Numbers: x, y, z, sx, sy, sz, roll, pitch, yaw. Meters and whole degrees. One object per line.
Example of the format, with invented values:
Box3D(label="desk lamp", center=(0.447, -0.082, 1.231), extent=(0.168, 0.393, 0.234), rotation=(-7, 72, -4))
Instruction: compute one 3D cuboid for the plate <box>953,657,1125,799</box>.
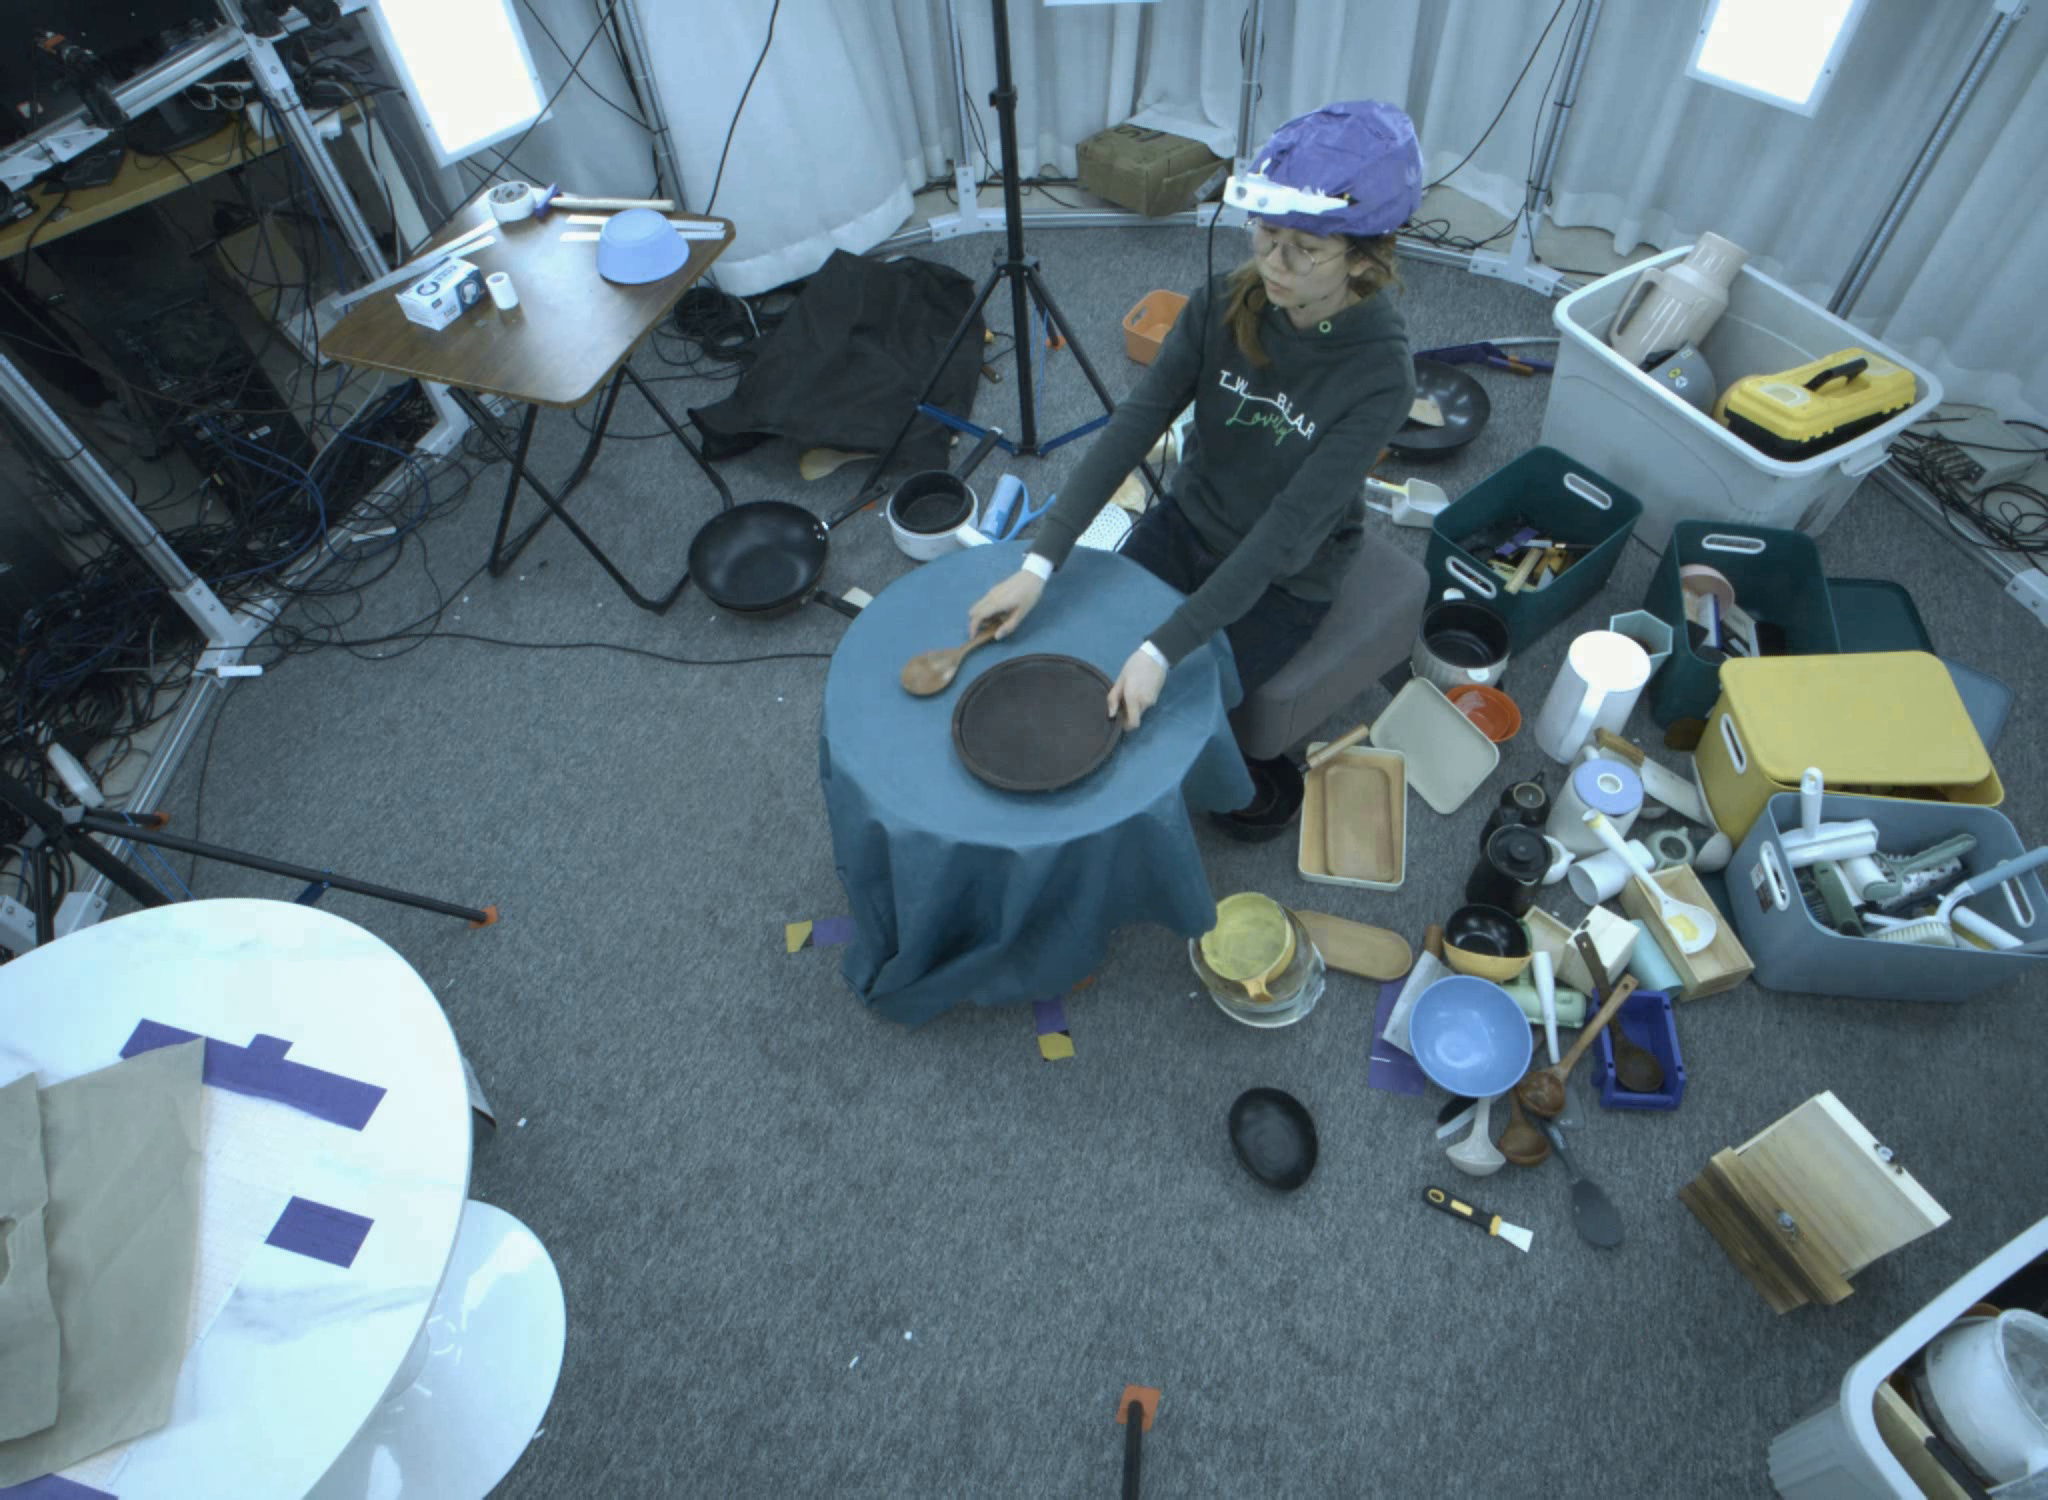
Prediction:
Box3D(label="plate", center=(0.022, -0.035, 1.799), extent=(0.254, 0.029, 0.252), rotation=(-3, 55, 5))

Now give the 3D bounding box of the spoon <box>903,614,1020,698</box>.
Box3D(label="spoon", center=(-0.093, -0.146, 1.890), extent=(0.217, 0.017, 0.074), rotation=(-37, 64, -19))
